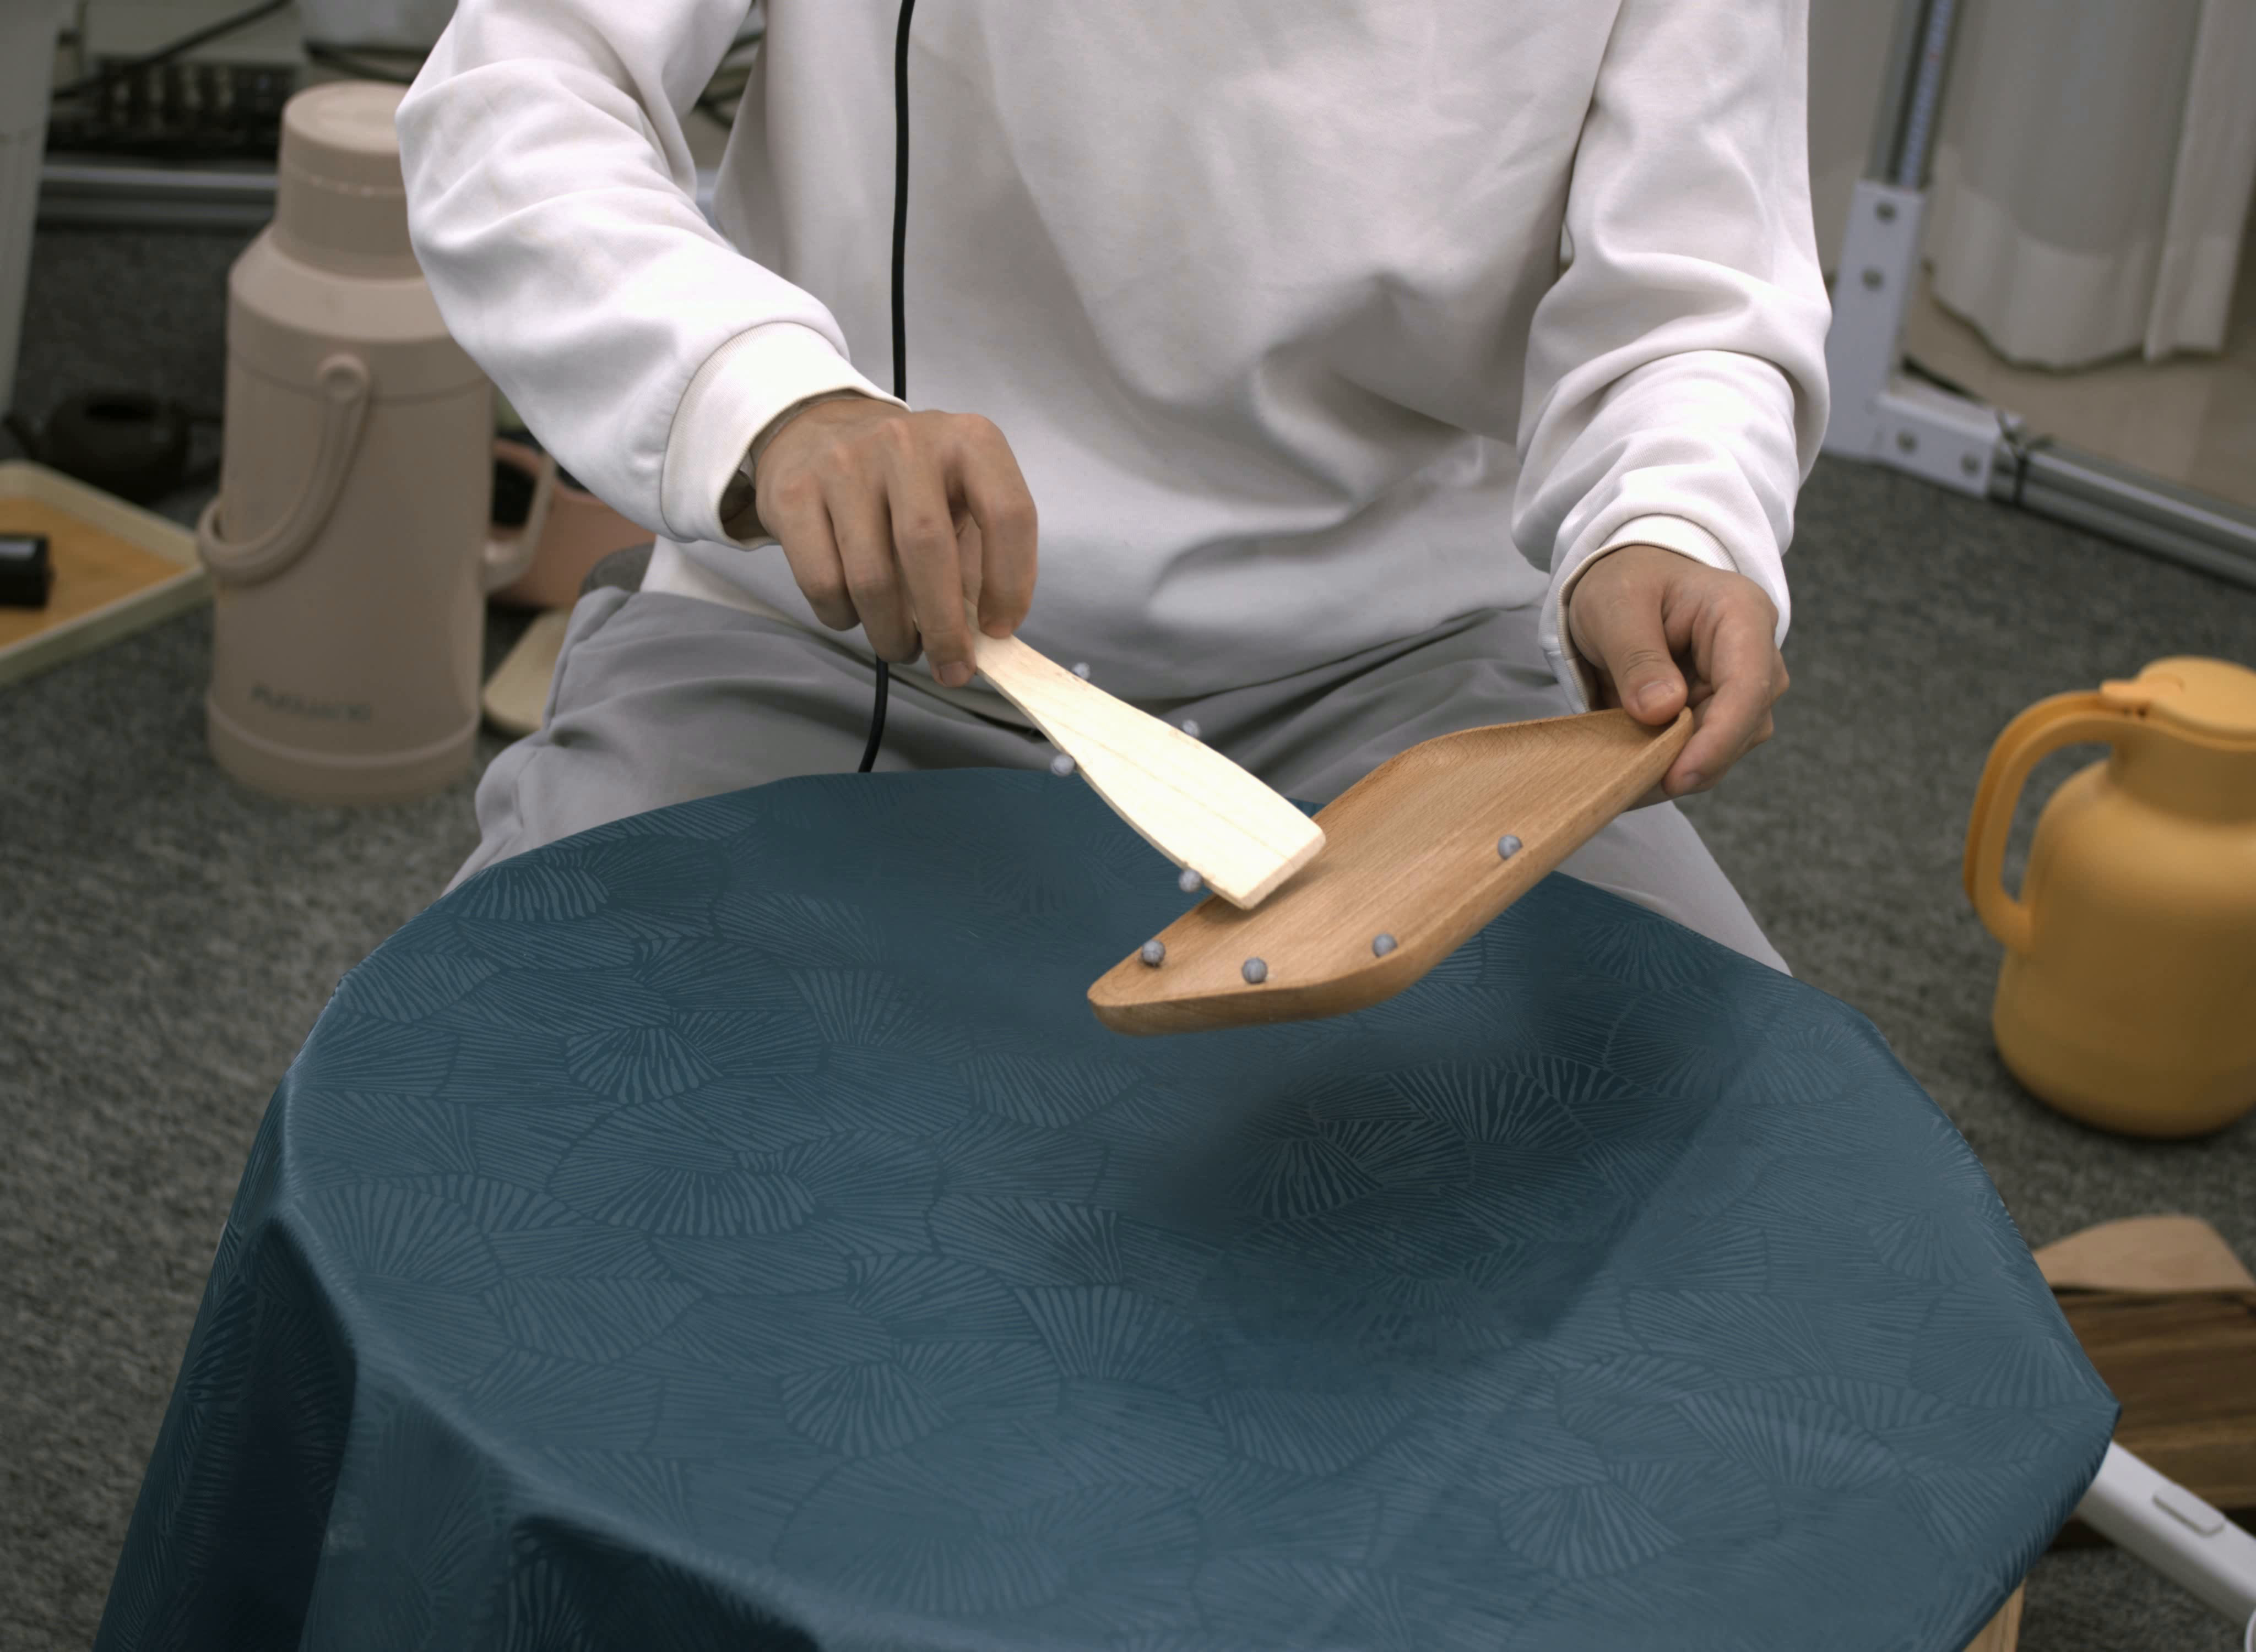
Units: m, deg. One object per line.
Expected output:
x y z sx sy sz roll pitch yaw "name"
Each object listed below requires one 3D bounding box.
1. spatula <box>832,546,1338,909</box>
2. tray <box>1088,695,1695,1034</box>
-0.021 -0.039 1.847 0.209 0.005 0.050 35 48 19 "spatula"
0.093 0.012 1.808 0.131 0.023 0.250 -4 19 36 "tray"
